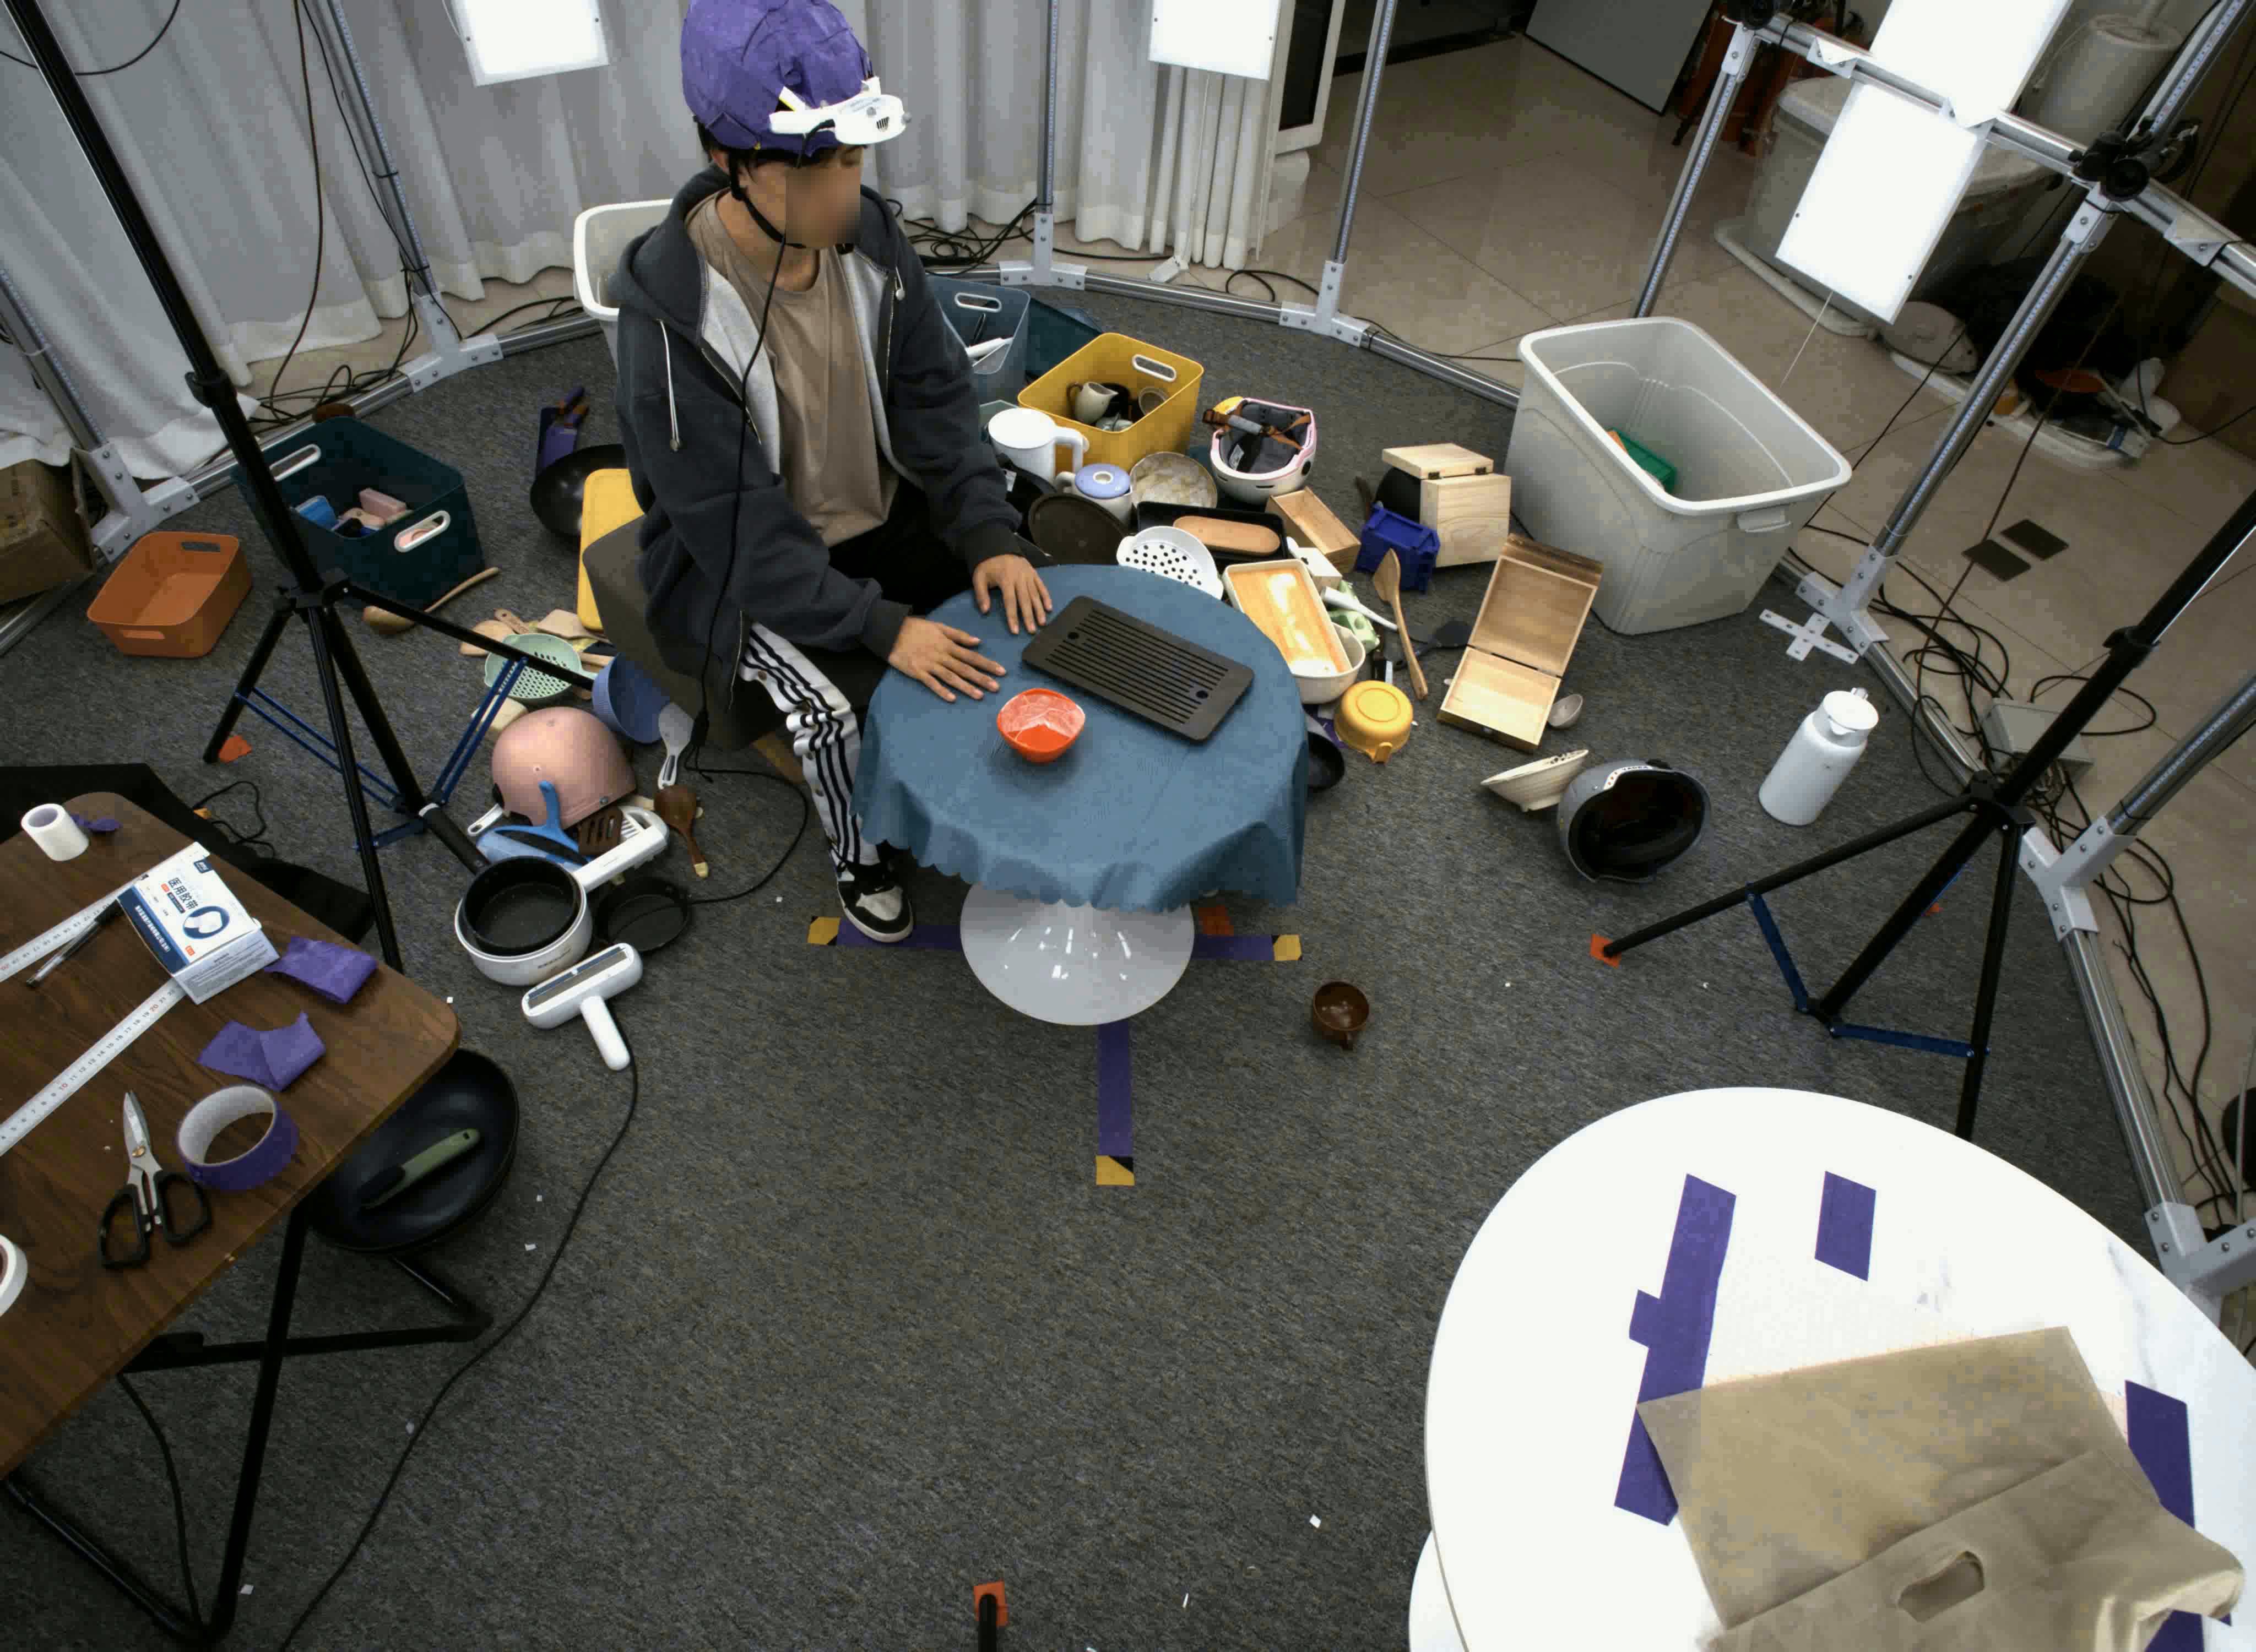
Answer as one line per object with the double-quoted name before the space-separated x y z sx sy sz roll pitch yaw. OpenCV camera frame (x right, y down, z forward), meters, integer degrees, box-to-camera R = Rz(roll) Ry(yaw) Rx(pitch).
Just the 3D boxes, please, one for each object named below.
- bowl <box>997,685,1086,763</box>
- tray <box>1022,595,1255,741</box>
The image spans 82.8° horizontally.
"bowl" -0.118 -0.131 1.734 0.119 0.050 0.122 3 53 -4
"tray" 0.015 -0.230 1.856 0.308 0.018 0.173 26 52 18
